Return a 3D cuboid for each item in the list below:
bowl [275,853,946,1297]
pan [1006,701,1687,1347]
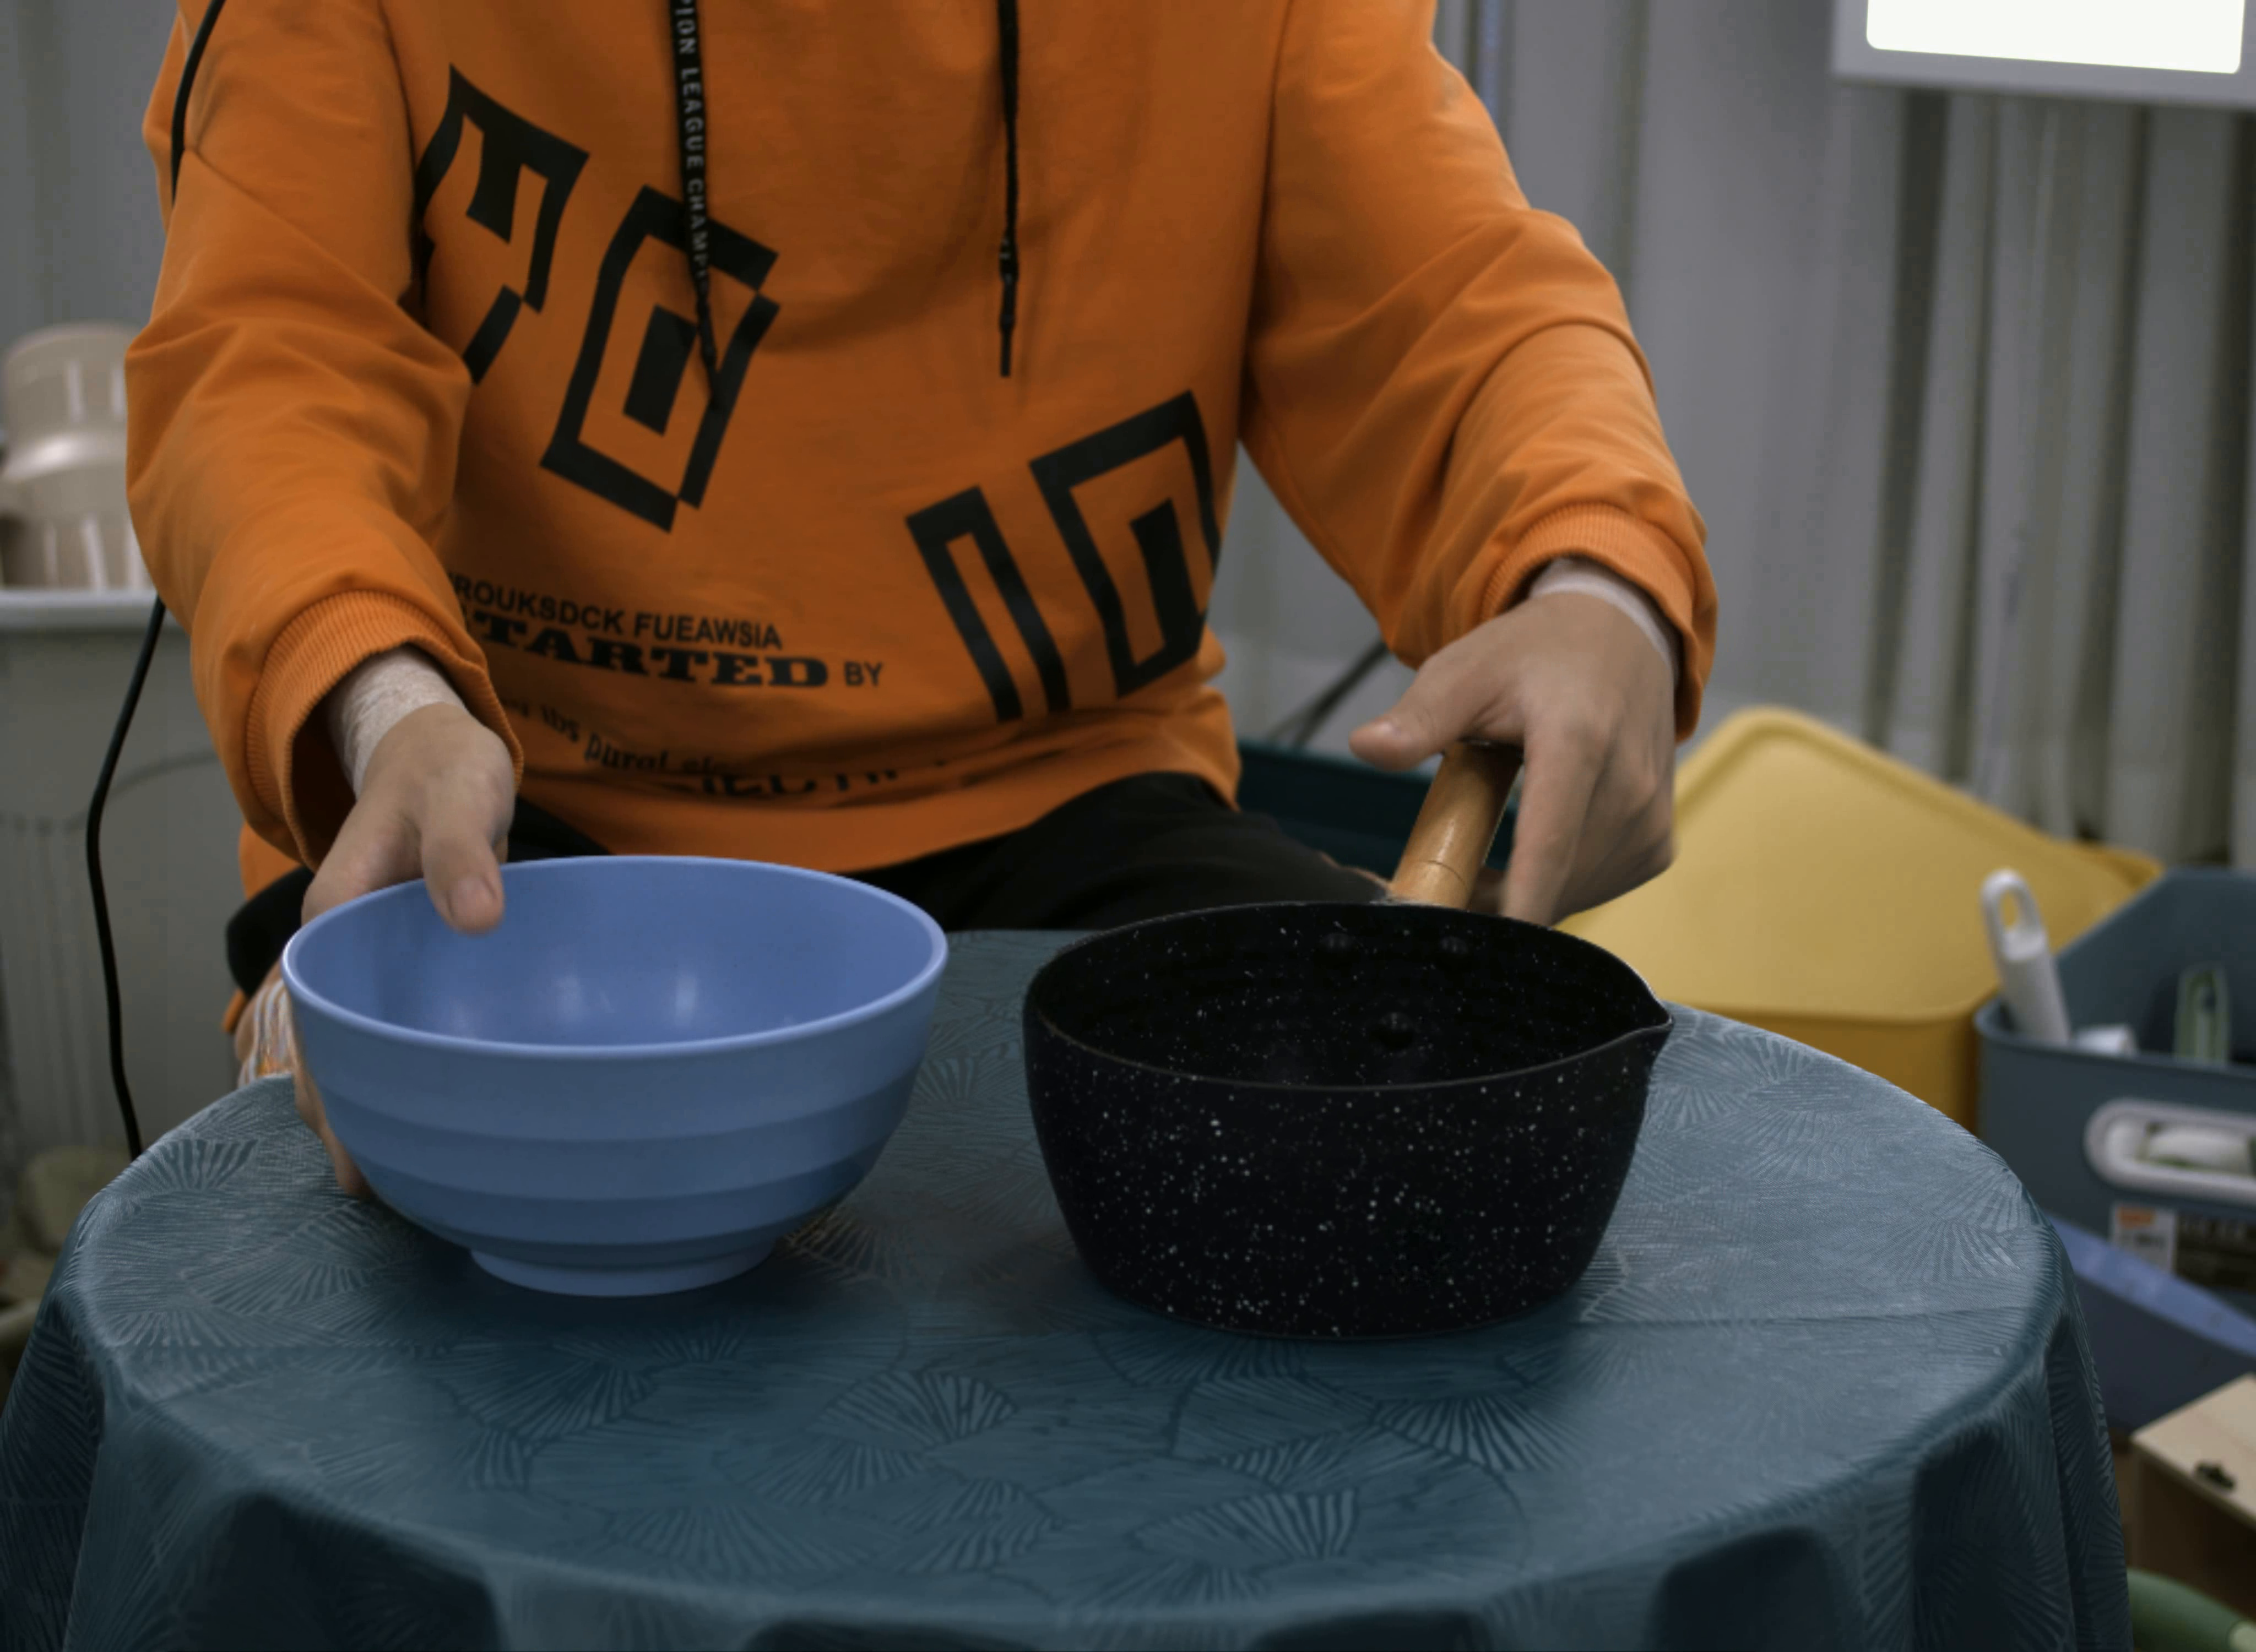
[{"bbox_3d":[-0.151,0.079,1.558,0.196,0.096,0.195,0,16,1],"label":"bowl"},{"bbox_3d":[0.080,0.056,1.627,0.206,0.109,0.342,2,17,13],"label":"pan"}]
